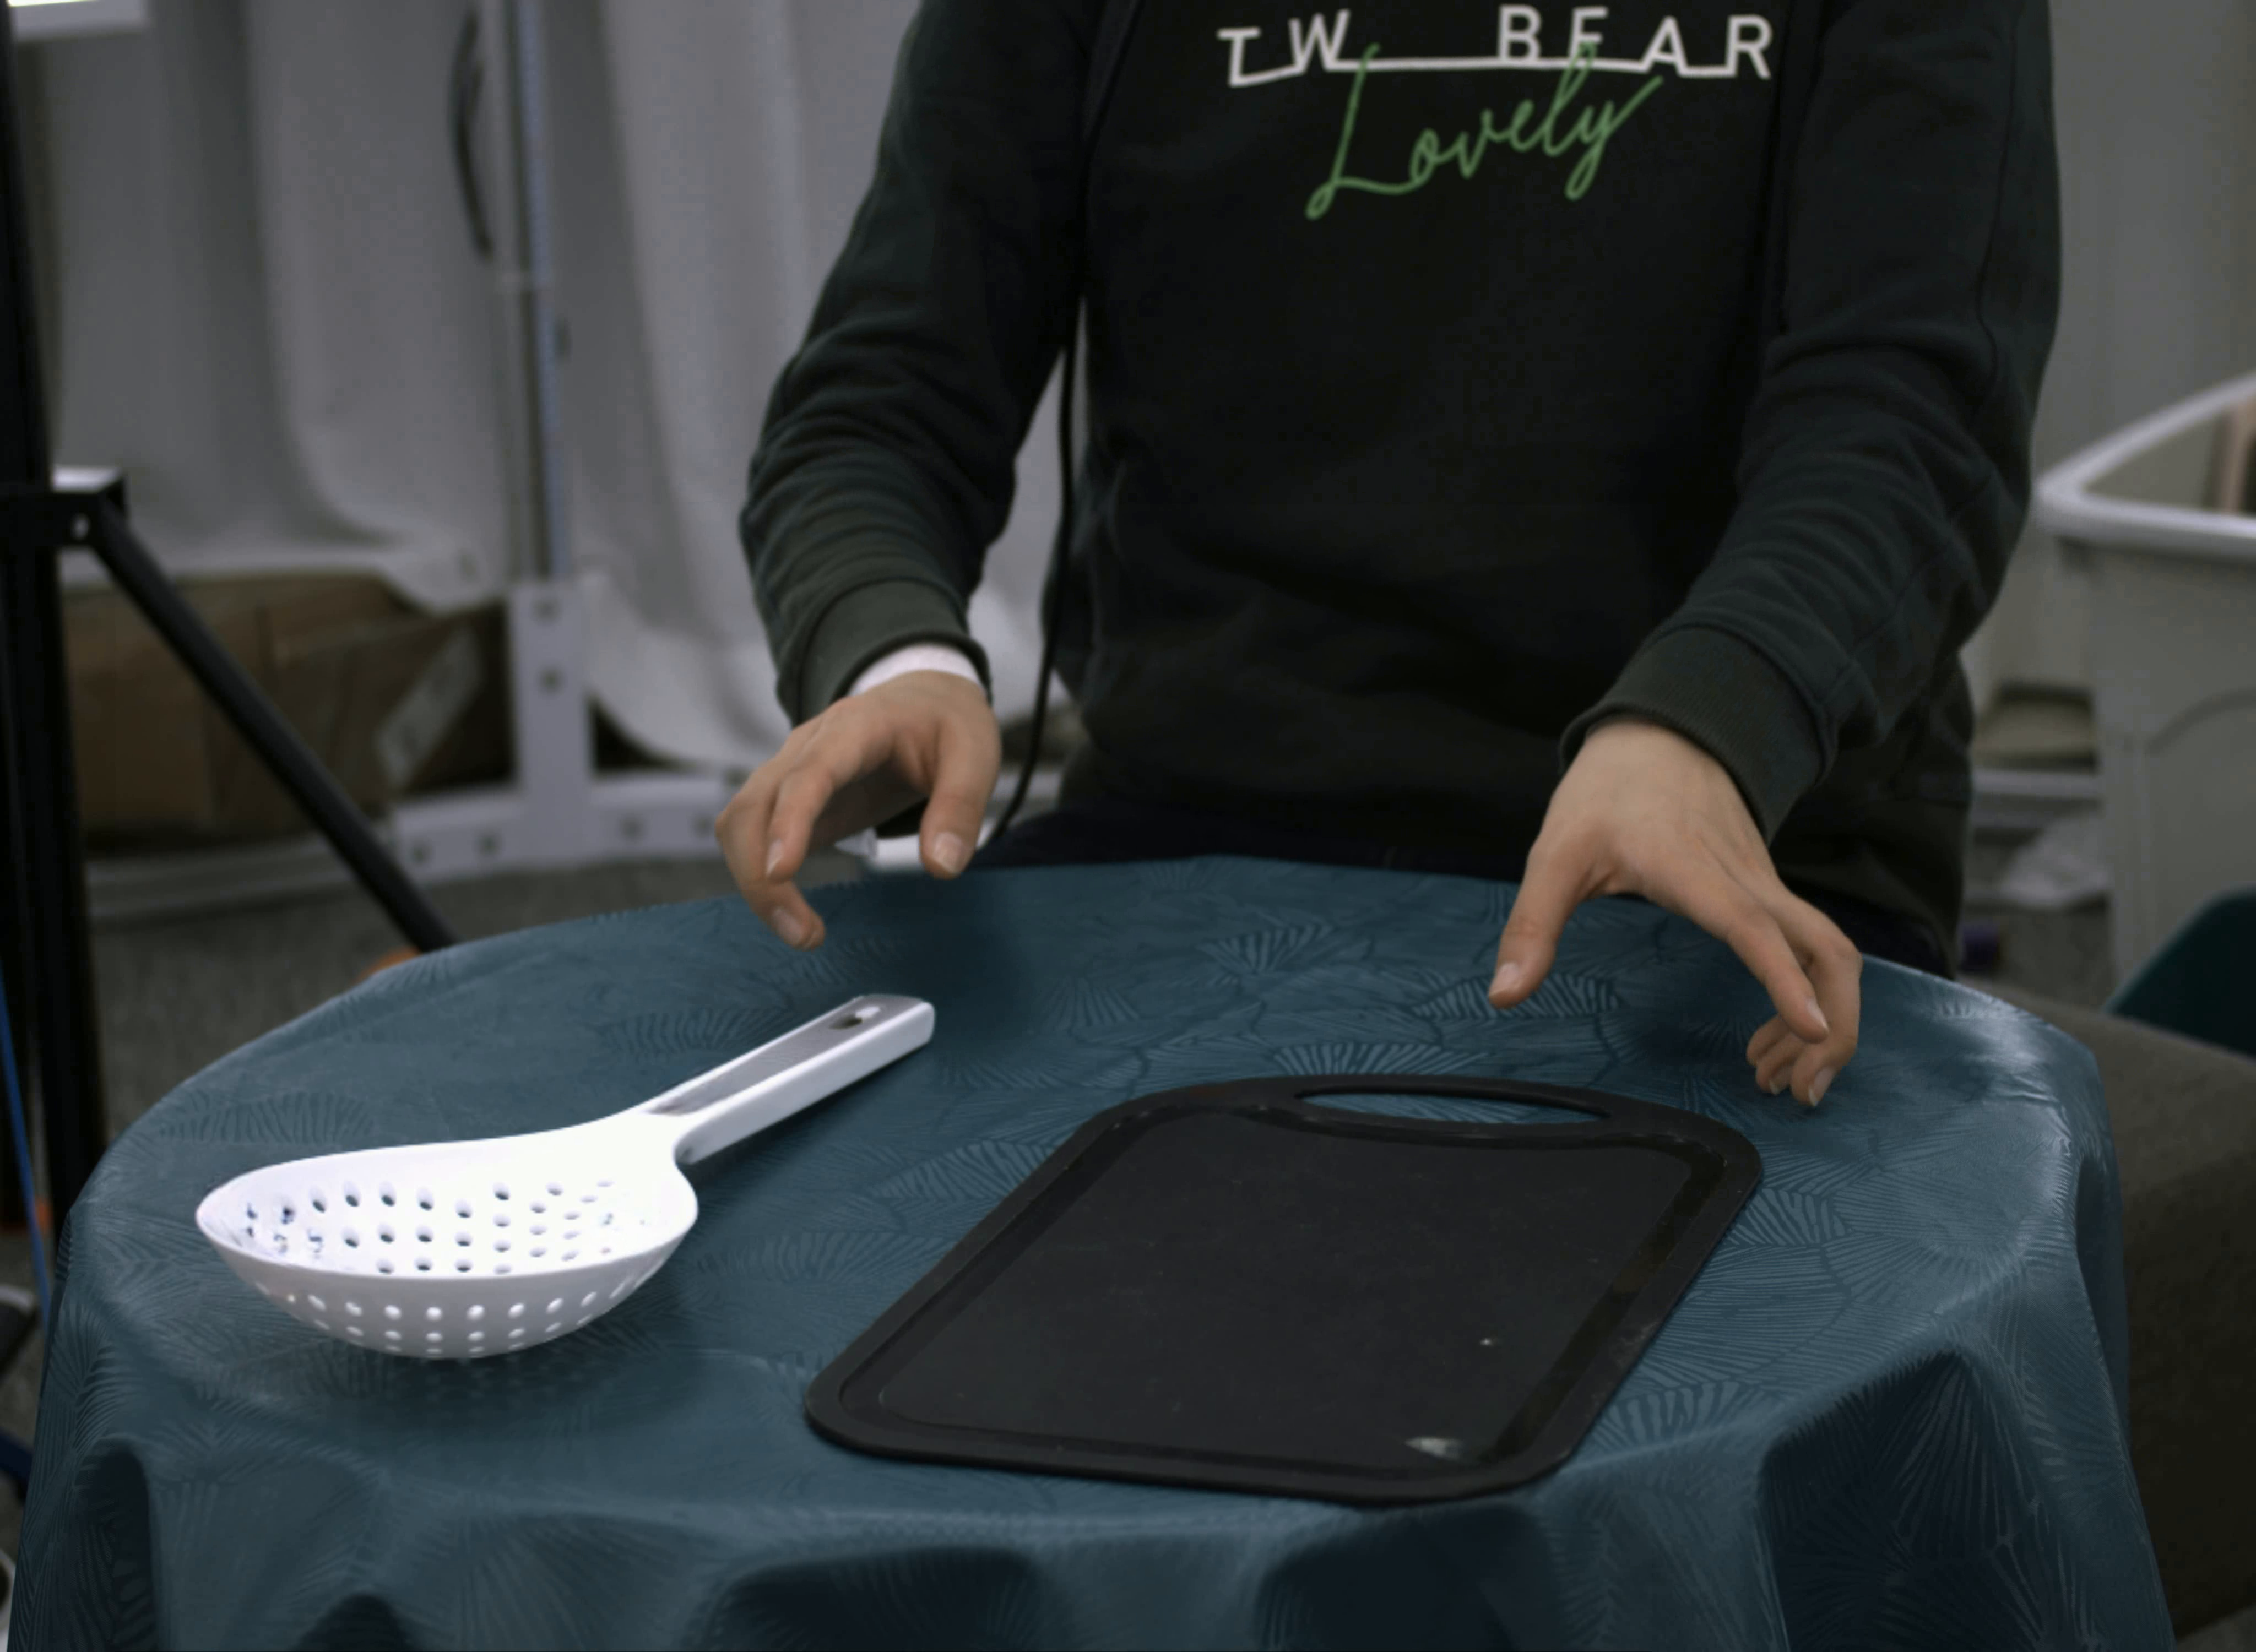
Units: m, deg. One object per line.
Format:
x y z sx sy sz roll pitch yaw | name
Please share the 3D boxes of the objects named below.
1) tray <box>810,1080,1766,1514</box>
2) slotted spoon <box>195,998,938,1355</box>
0.054 0.122 1.486 0.213 0.010 0.321 4 17 20 | tray
-0.142 0.093 1.553 0.138 0.046 0.344 7 17 24 | slotted spoon
